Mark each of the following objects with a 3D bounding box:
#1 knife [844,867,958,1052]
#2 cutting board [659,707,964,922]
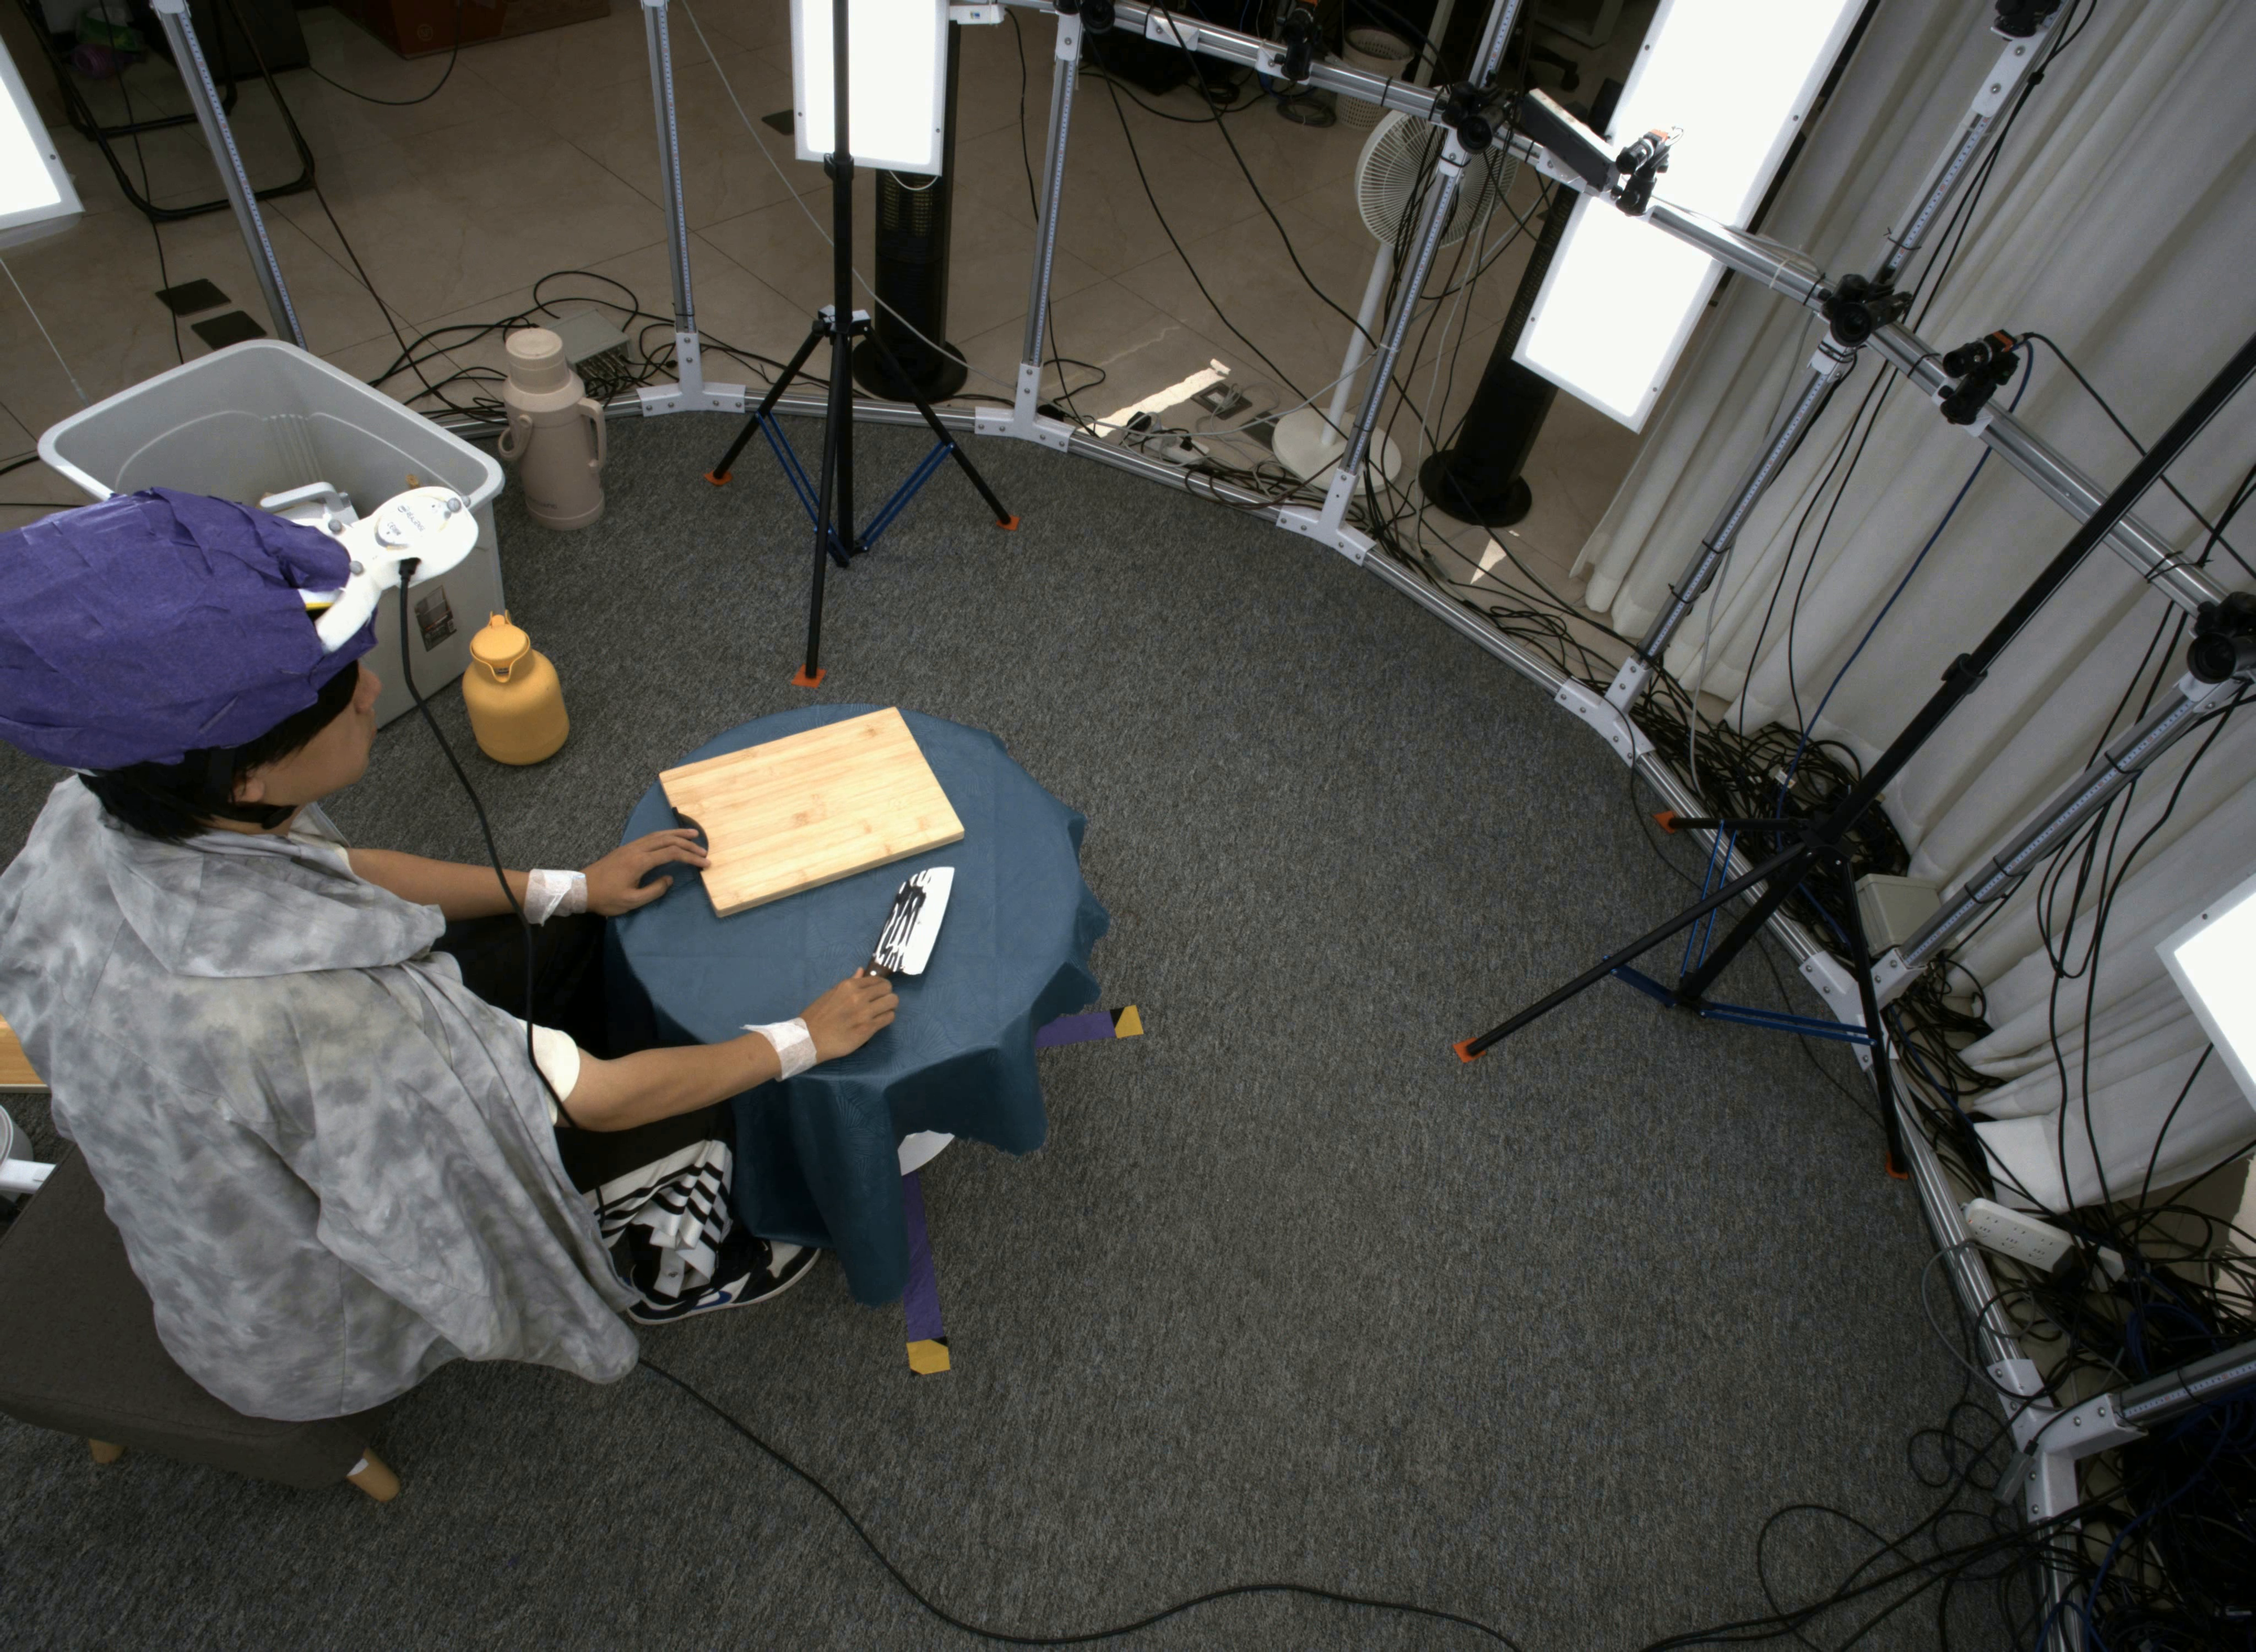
[{"bbox_3d":[-0.277,0.157,1.616,0.067,0.024,0.295,15,49,1],"label":"knife"},{"bbox_3d":[-0.421,-0.025,1.735,0.350,0.024,0.244,-20,61,-26],"label":"cutting board"}]
